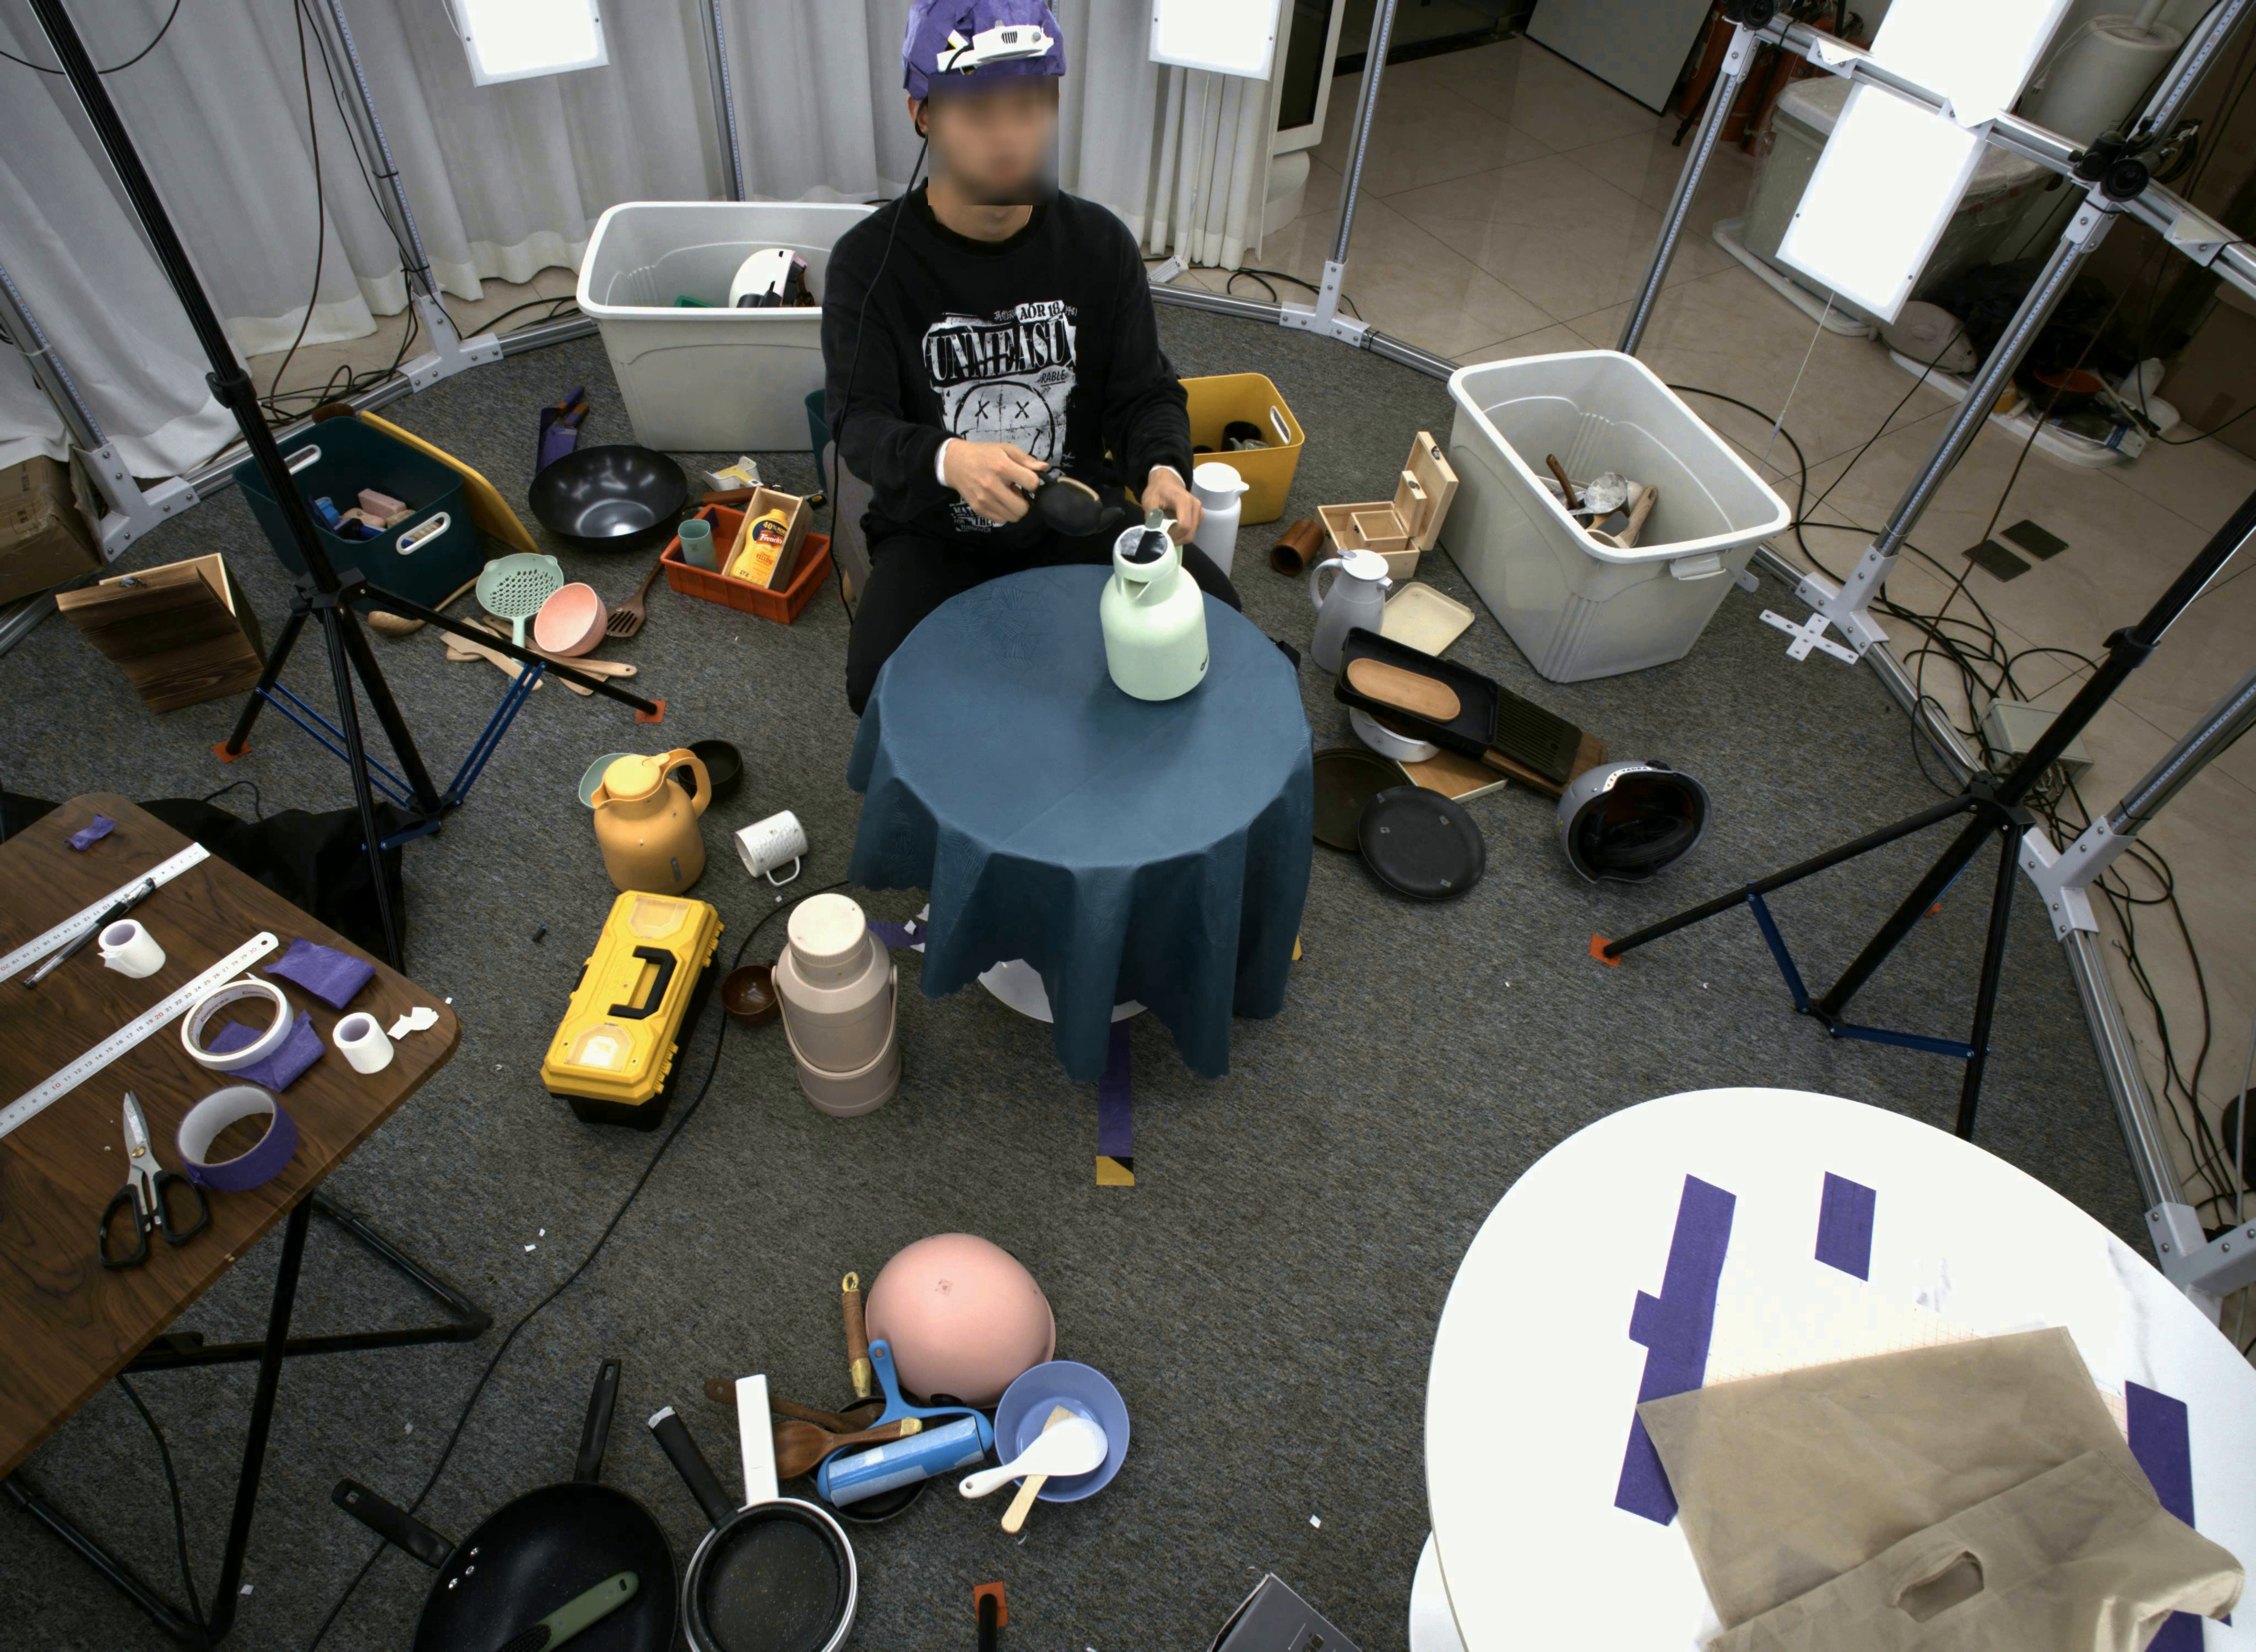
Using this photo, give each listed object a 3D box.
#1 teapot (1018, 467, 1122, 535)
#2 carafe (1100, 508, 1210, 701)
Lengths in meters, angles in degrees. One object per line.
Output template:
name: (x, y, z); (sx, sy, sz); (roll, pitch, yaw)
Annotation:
teapot: (-0.076, -0.399, 1.602); (0.132, 0.052, 0.093); (24, 28, -13)
carafe: (0.036, -0.308, 1.761); (0.145, 0.250, 0.190); (11, 57, 16)
